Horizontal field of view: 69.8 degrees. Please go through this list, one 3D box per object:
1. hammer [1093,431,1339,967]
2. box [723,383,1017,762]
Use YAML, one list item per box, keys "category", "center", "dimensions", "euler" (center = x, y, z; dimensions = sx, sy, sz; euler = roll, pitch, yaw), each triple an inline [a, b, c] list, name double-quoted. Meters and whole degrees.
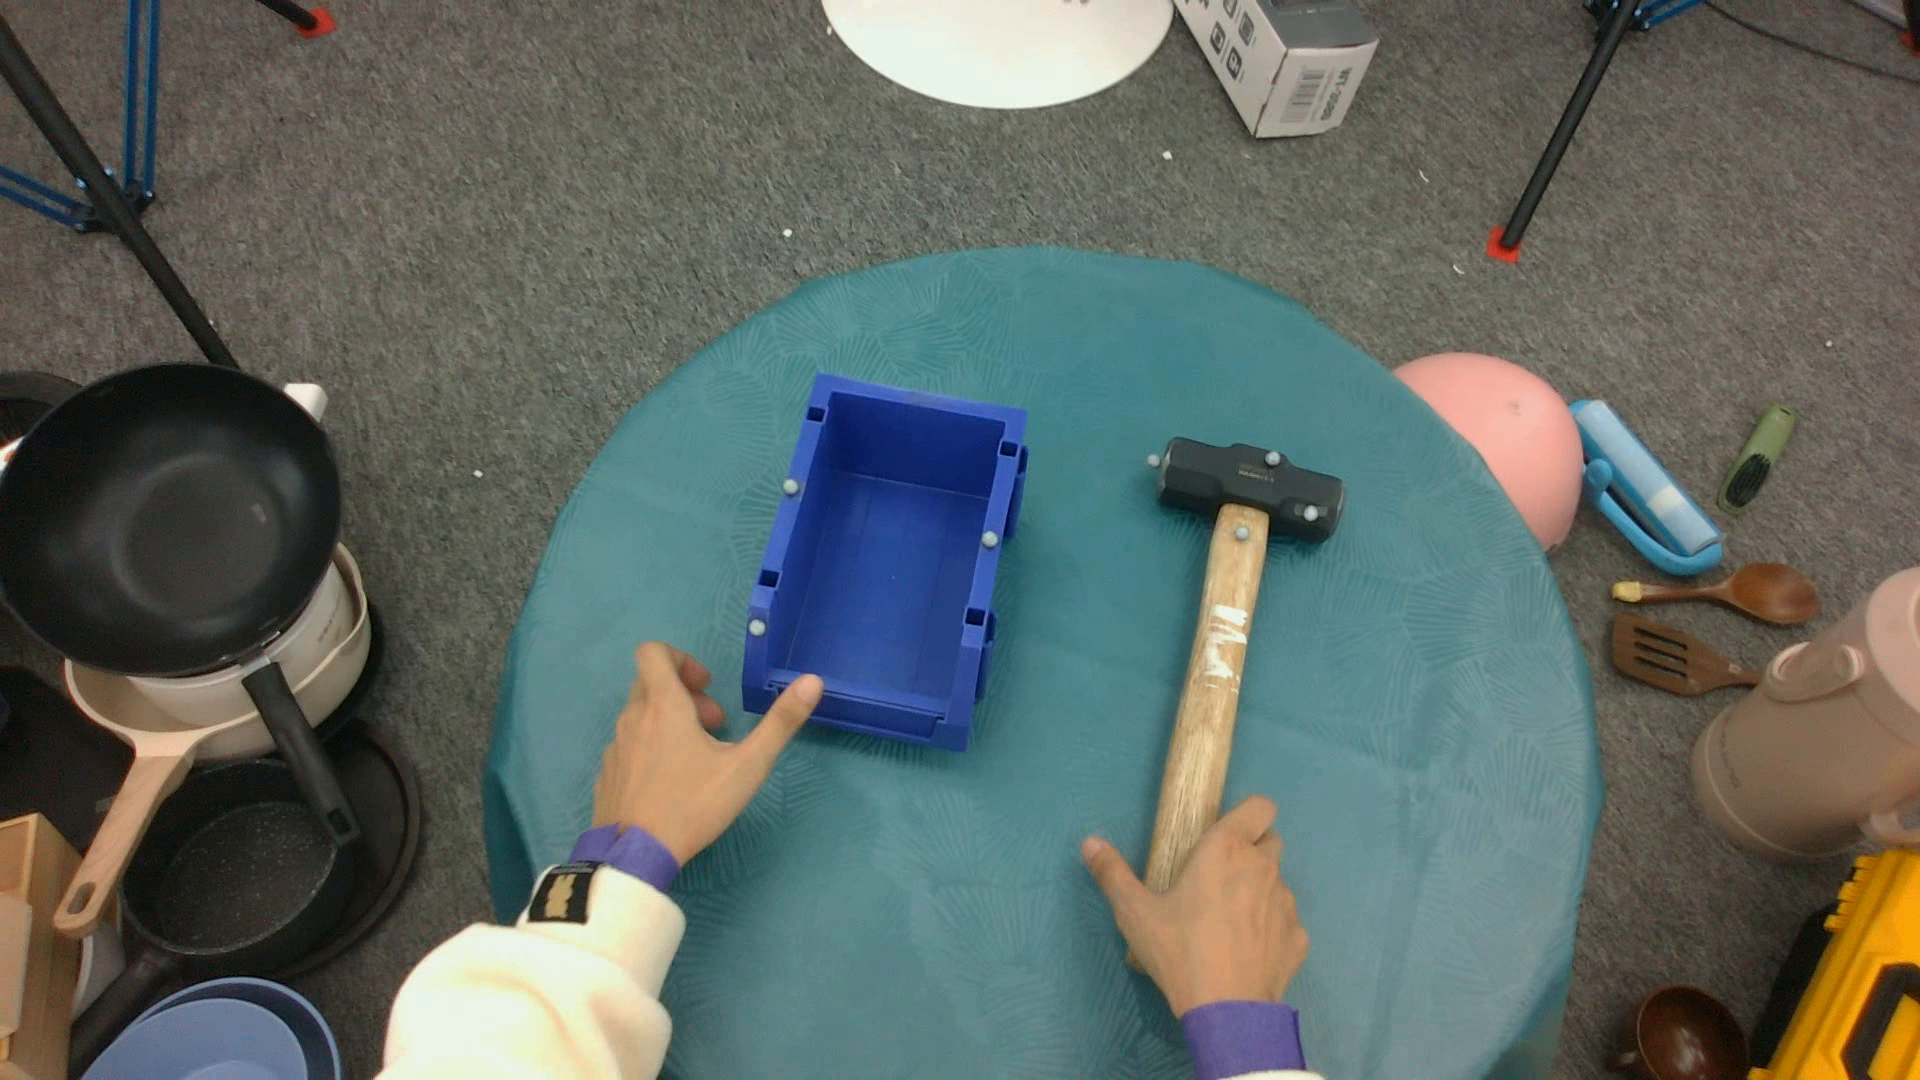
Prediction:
- category: "hammer"
  center: [0.127, 0.078, 0.746]
  dimensions: [0.107, 0.038, 0.306]
  euler: [17, 60, 6]
- category: "box"
  center: [-0.044, 0.019, 0.742]
  dimensions: [0.124, 0.081, 0.180]
  euler: [11, 56, 3]
